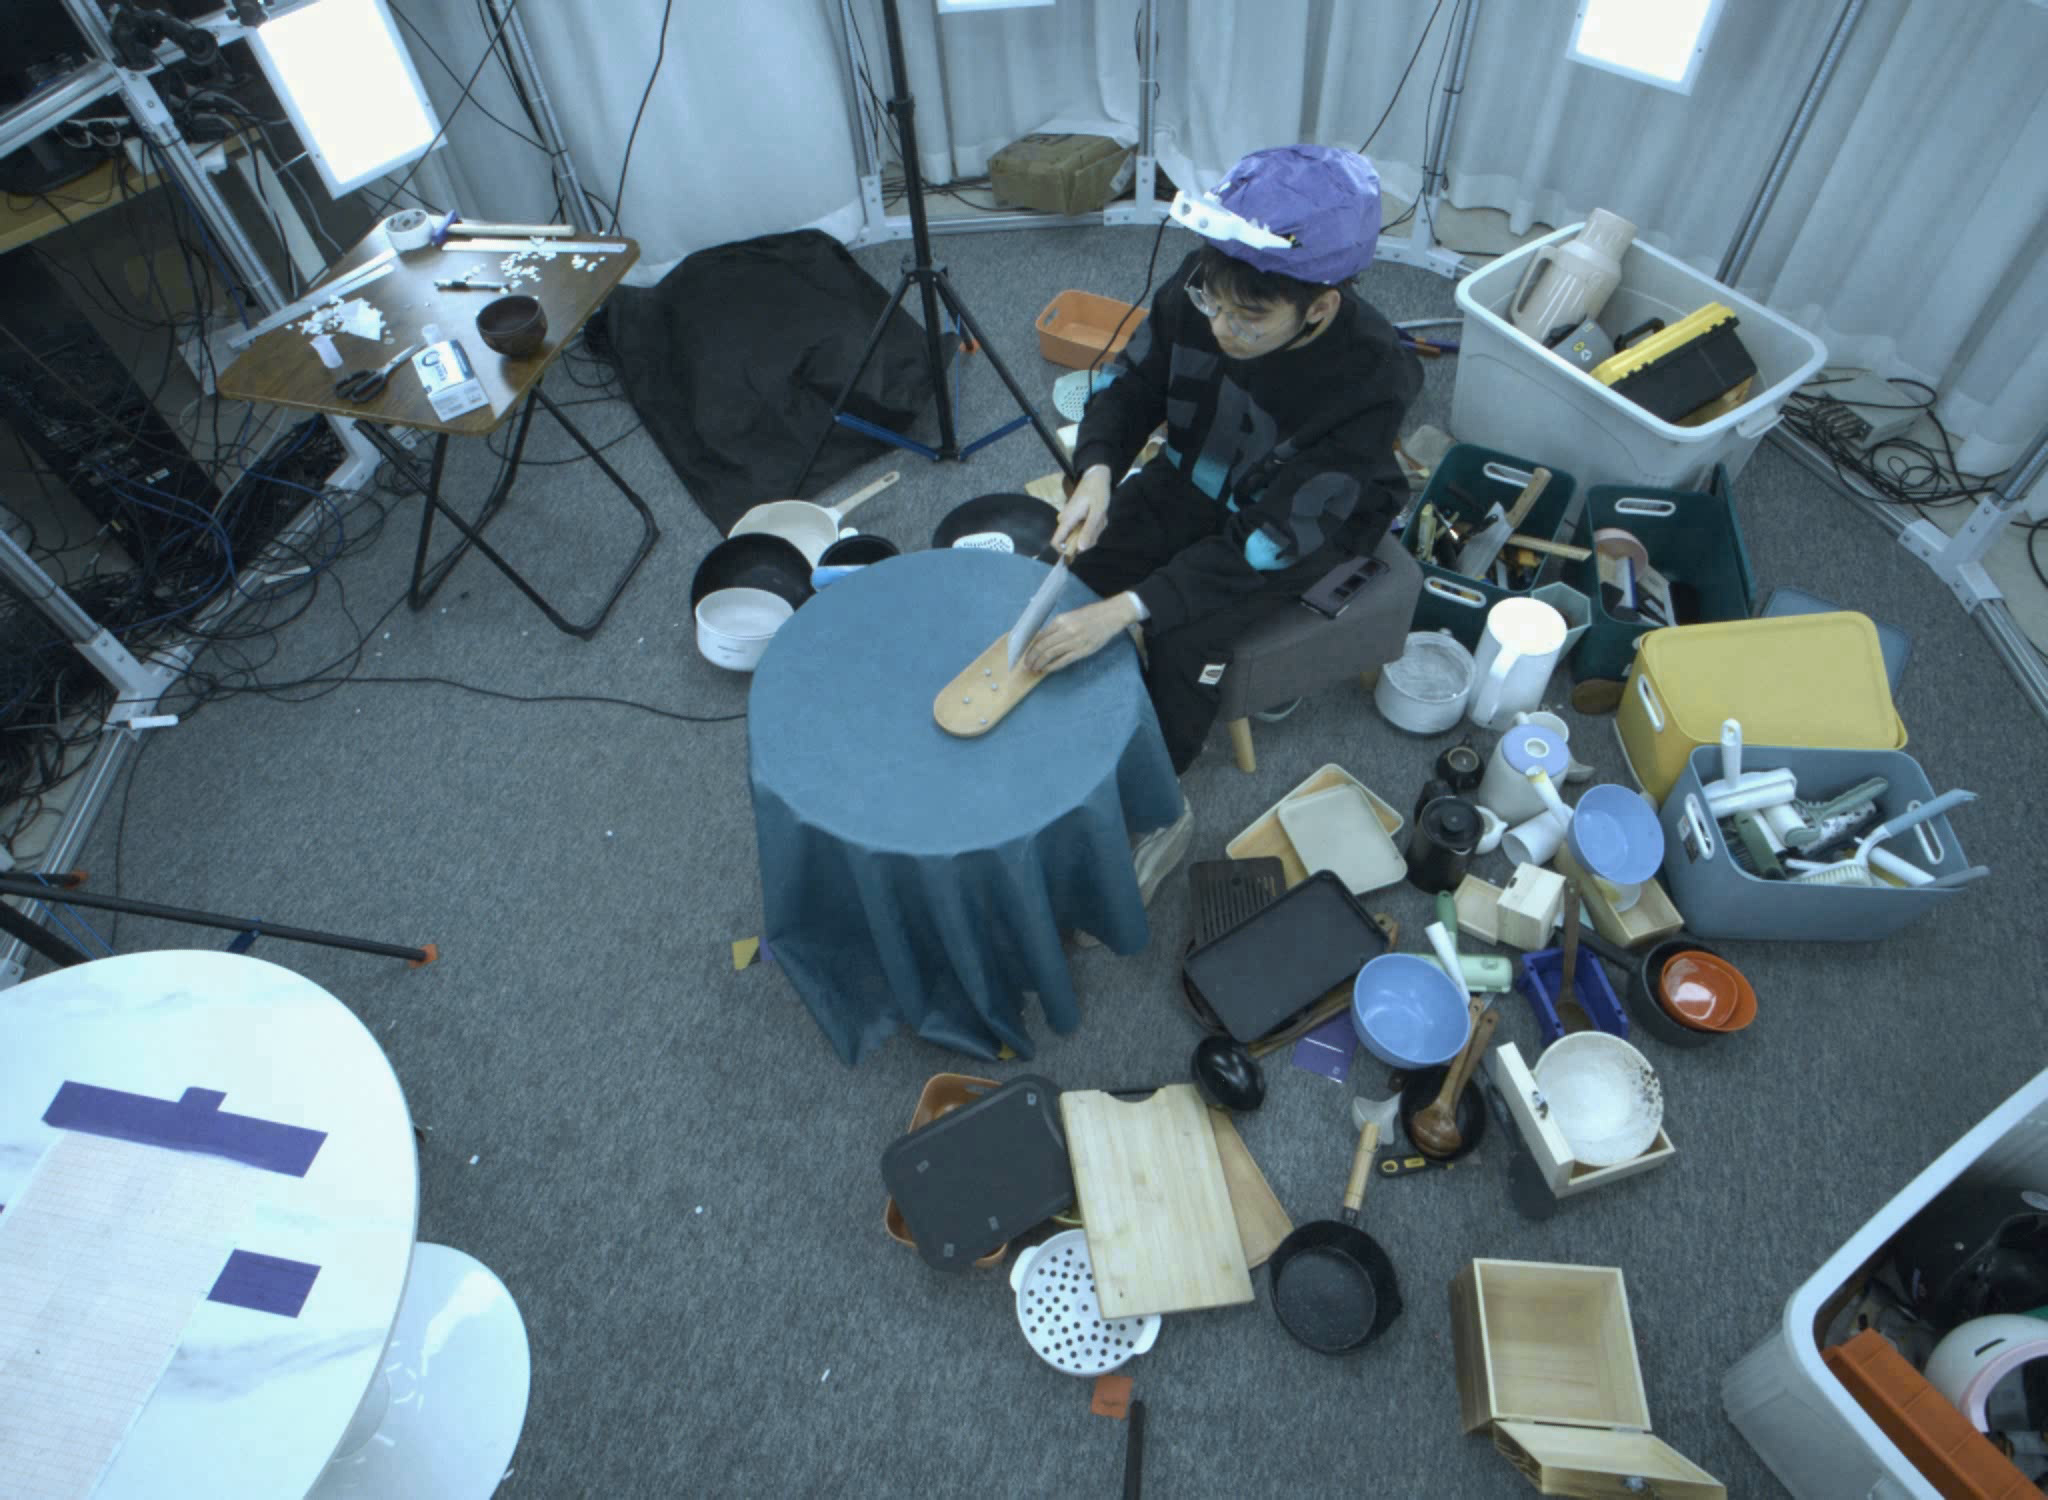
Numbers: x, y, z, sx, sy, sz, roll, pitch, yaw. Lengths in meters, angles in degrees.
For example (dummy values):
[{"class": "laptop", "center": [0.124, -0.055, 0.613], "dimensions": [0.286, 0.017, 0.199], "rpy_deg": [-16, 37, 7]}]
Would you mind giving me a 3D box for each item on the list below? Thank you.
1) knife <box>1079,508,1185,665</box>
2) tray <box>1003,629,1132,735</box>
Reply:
[{"class": "knife", "center": [0.162, -0.246, 1.863], "dimensions": [0.021, 0.094, 0.306], "rpy_deg": [27, 62, 17]}, {"class": "tray", "center": [0.066, -0.104, 1.847], "dimensions": [0.100, 0.020, 0.233], "rpy_deg": [39, 64, 24]}]
